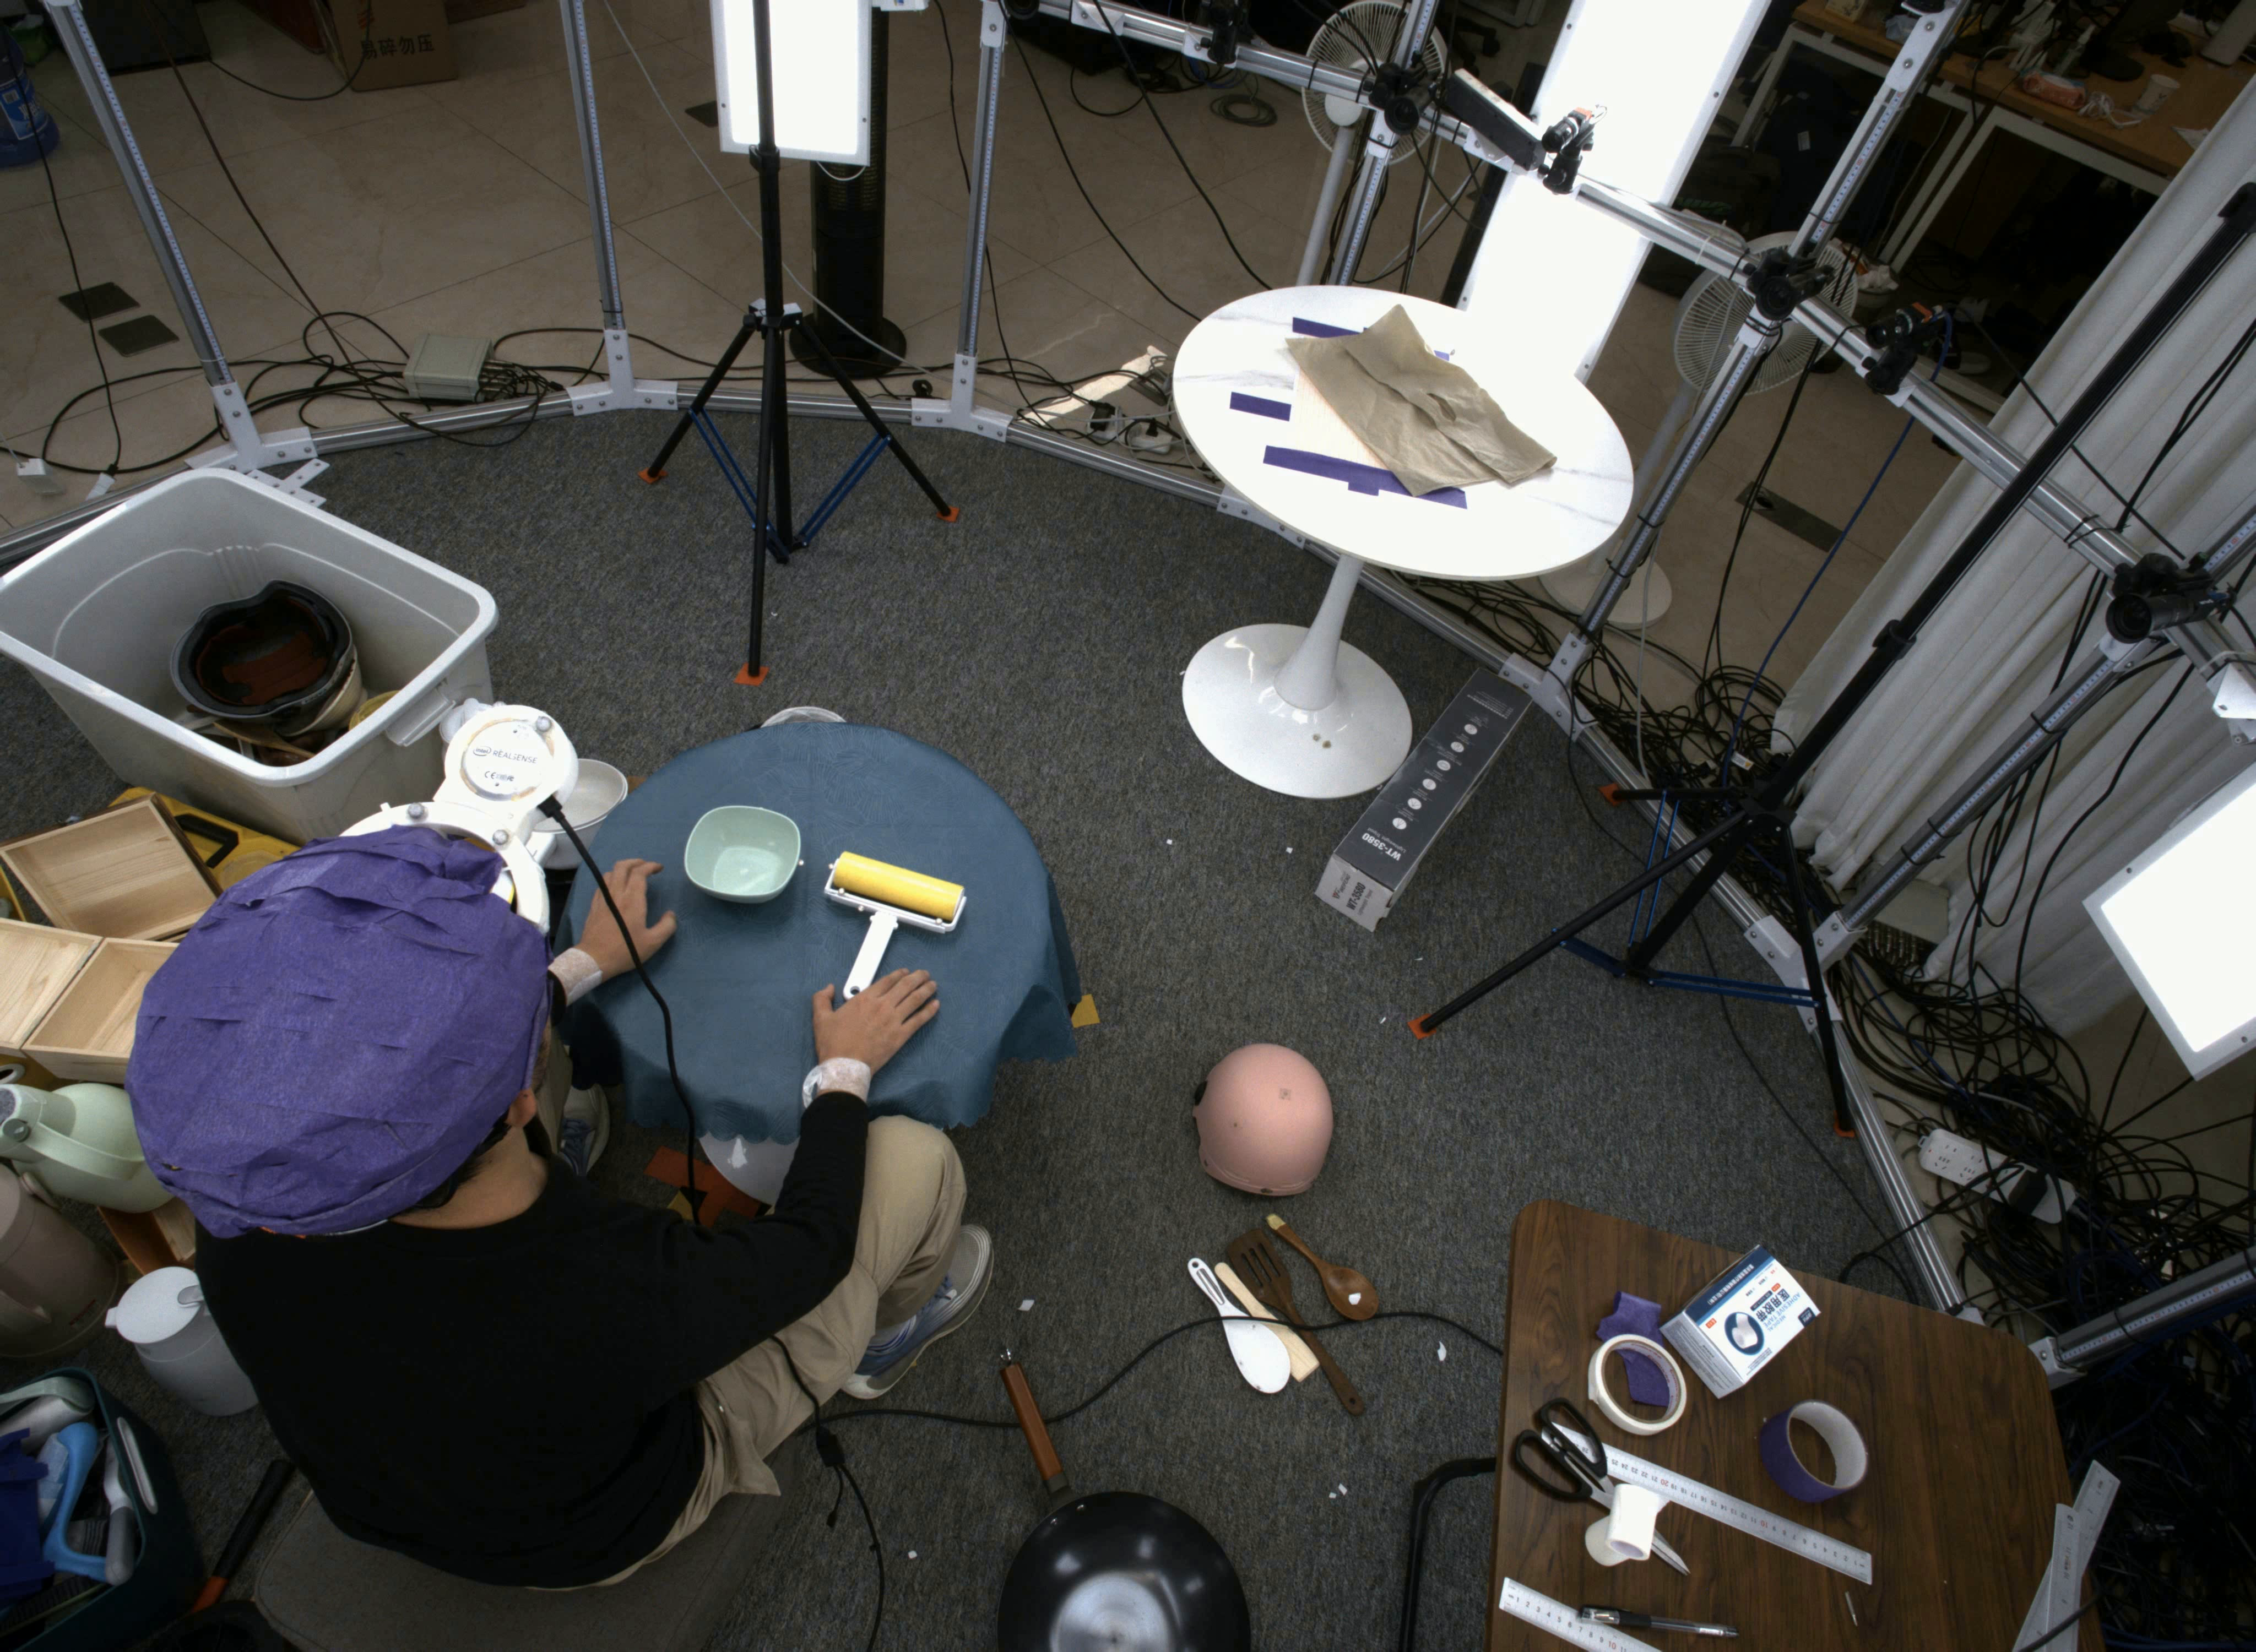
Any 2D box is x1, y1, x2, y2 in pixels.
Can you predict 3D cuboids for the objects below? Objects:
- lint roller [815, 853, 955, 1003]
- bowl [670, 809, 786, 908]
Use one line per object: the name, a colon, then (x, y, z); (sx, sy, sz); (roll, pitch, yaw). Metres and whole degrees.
lint roller: (-0.320, 0.127, 1.617); (0.173, 0.052, 0.189); (15, 47, -3)
bowl: (-0.501, 0.049, 1.625); (0.151, 0.060, 0.148); (9, 50, -9)
